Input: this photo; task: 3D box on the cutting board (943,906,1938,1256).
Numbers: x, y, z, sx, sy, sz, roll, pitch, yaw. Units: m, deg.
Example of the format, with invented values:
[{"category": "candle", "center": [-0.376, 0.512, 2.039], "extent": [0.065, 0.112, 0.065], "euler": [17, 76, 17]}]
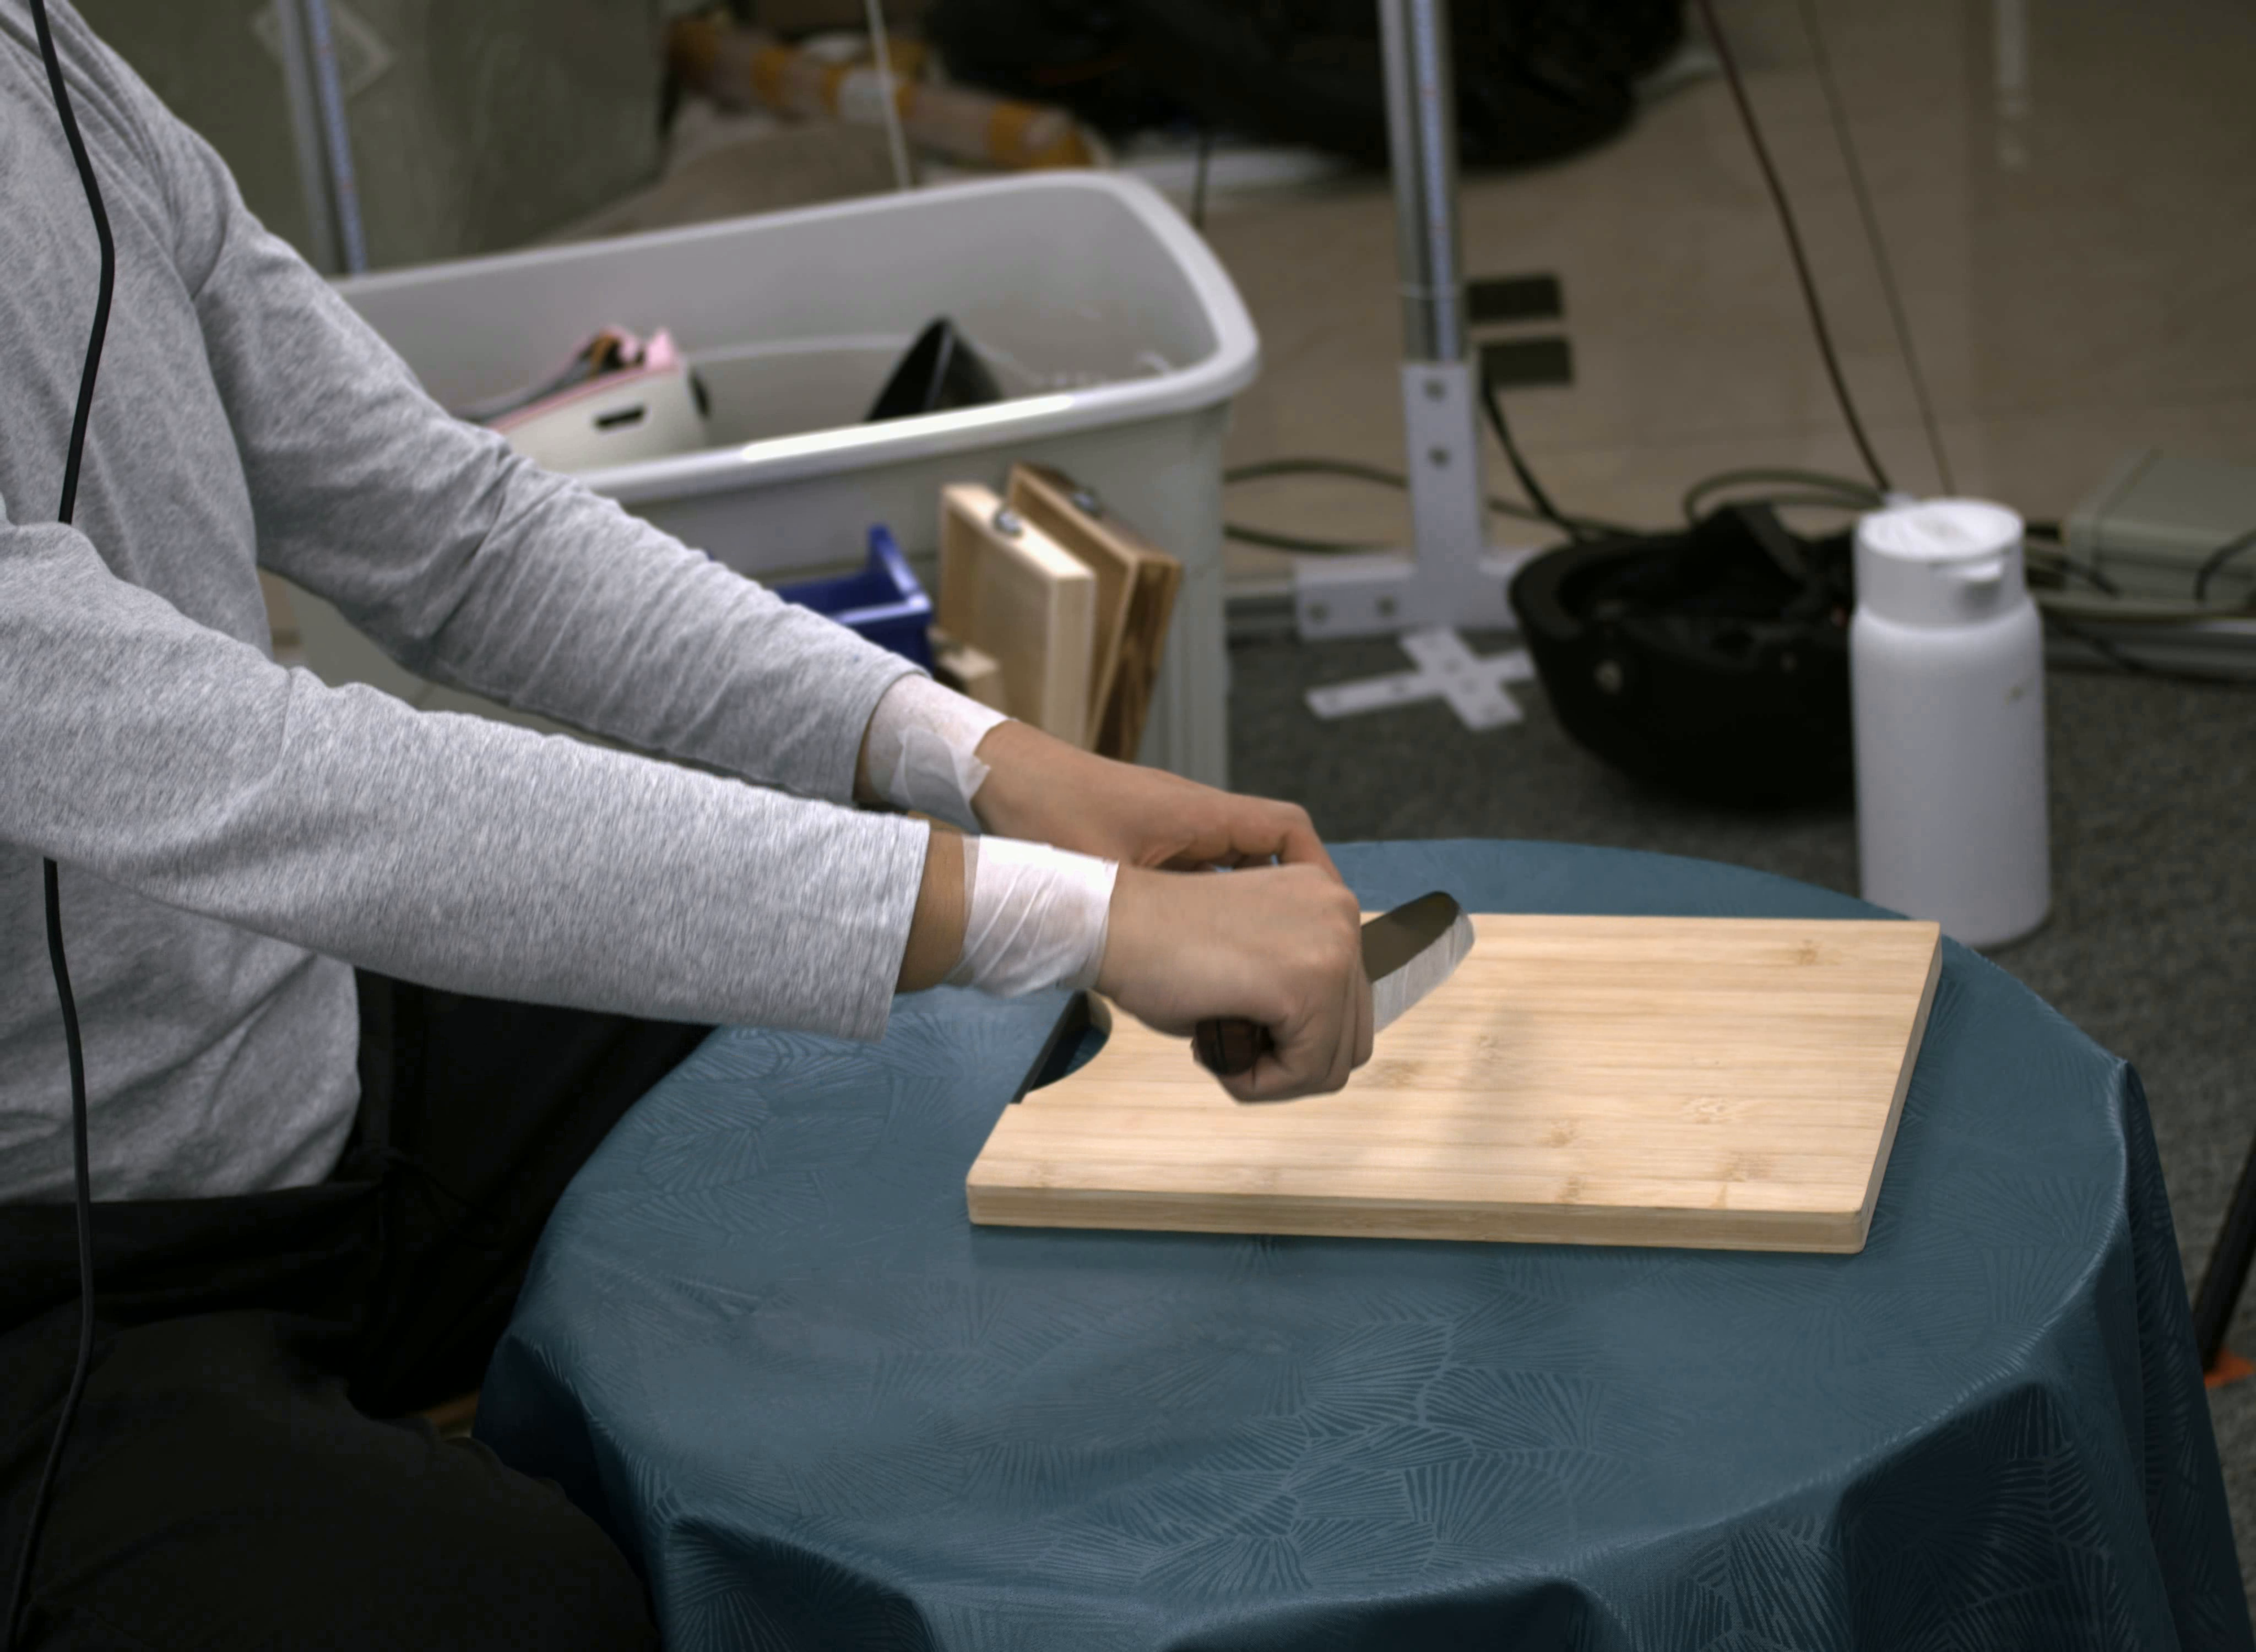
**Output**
[{"category": "cutting board", "center": [0.126, 0.095, 2.197], "extent": [0.348, 0.024, 0.247], "euler": [1, 25, 15]}]

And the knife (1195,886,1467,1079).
[{"category": "knife", "center": [0.081, 0.059, 2.084], "extent": [0.020, 0.050, 0.288], "euler": [7, 9, 20]}]
